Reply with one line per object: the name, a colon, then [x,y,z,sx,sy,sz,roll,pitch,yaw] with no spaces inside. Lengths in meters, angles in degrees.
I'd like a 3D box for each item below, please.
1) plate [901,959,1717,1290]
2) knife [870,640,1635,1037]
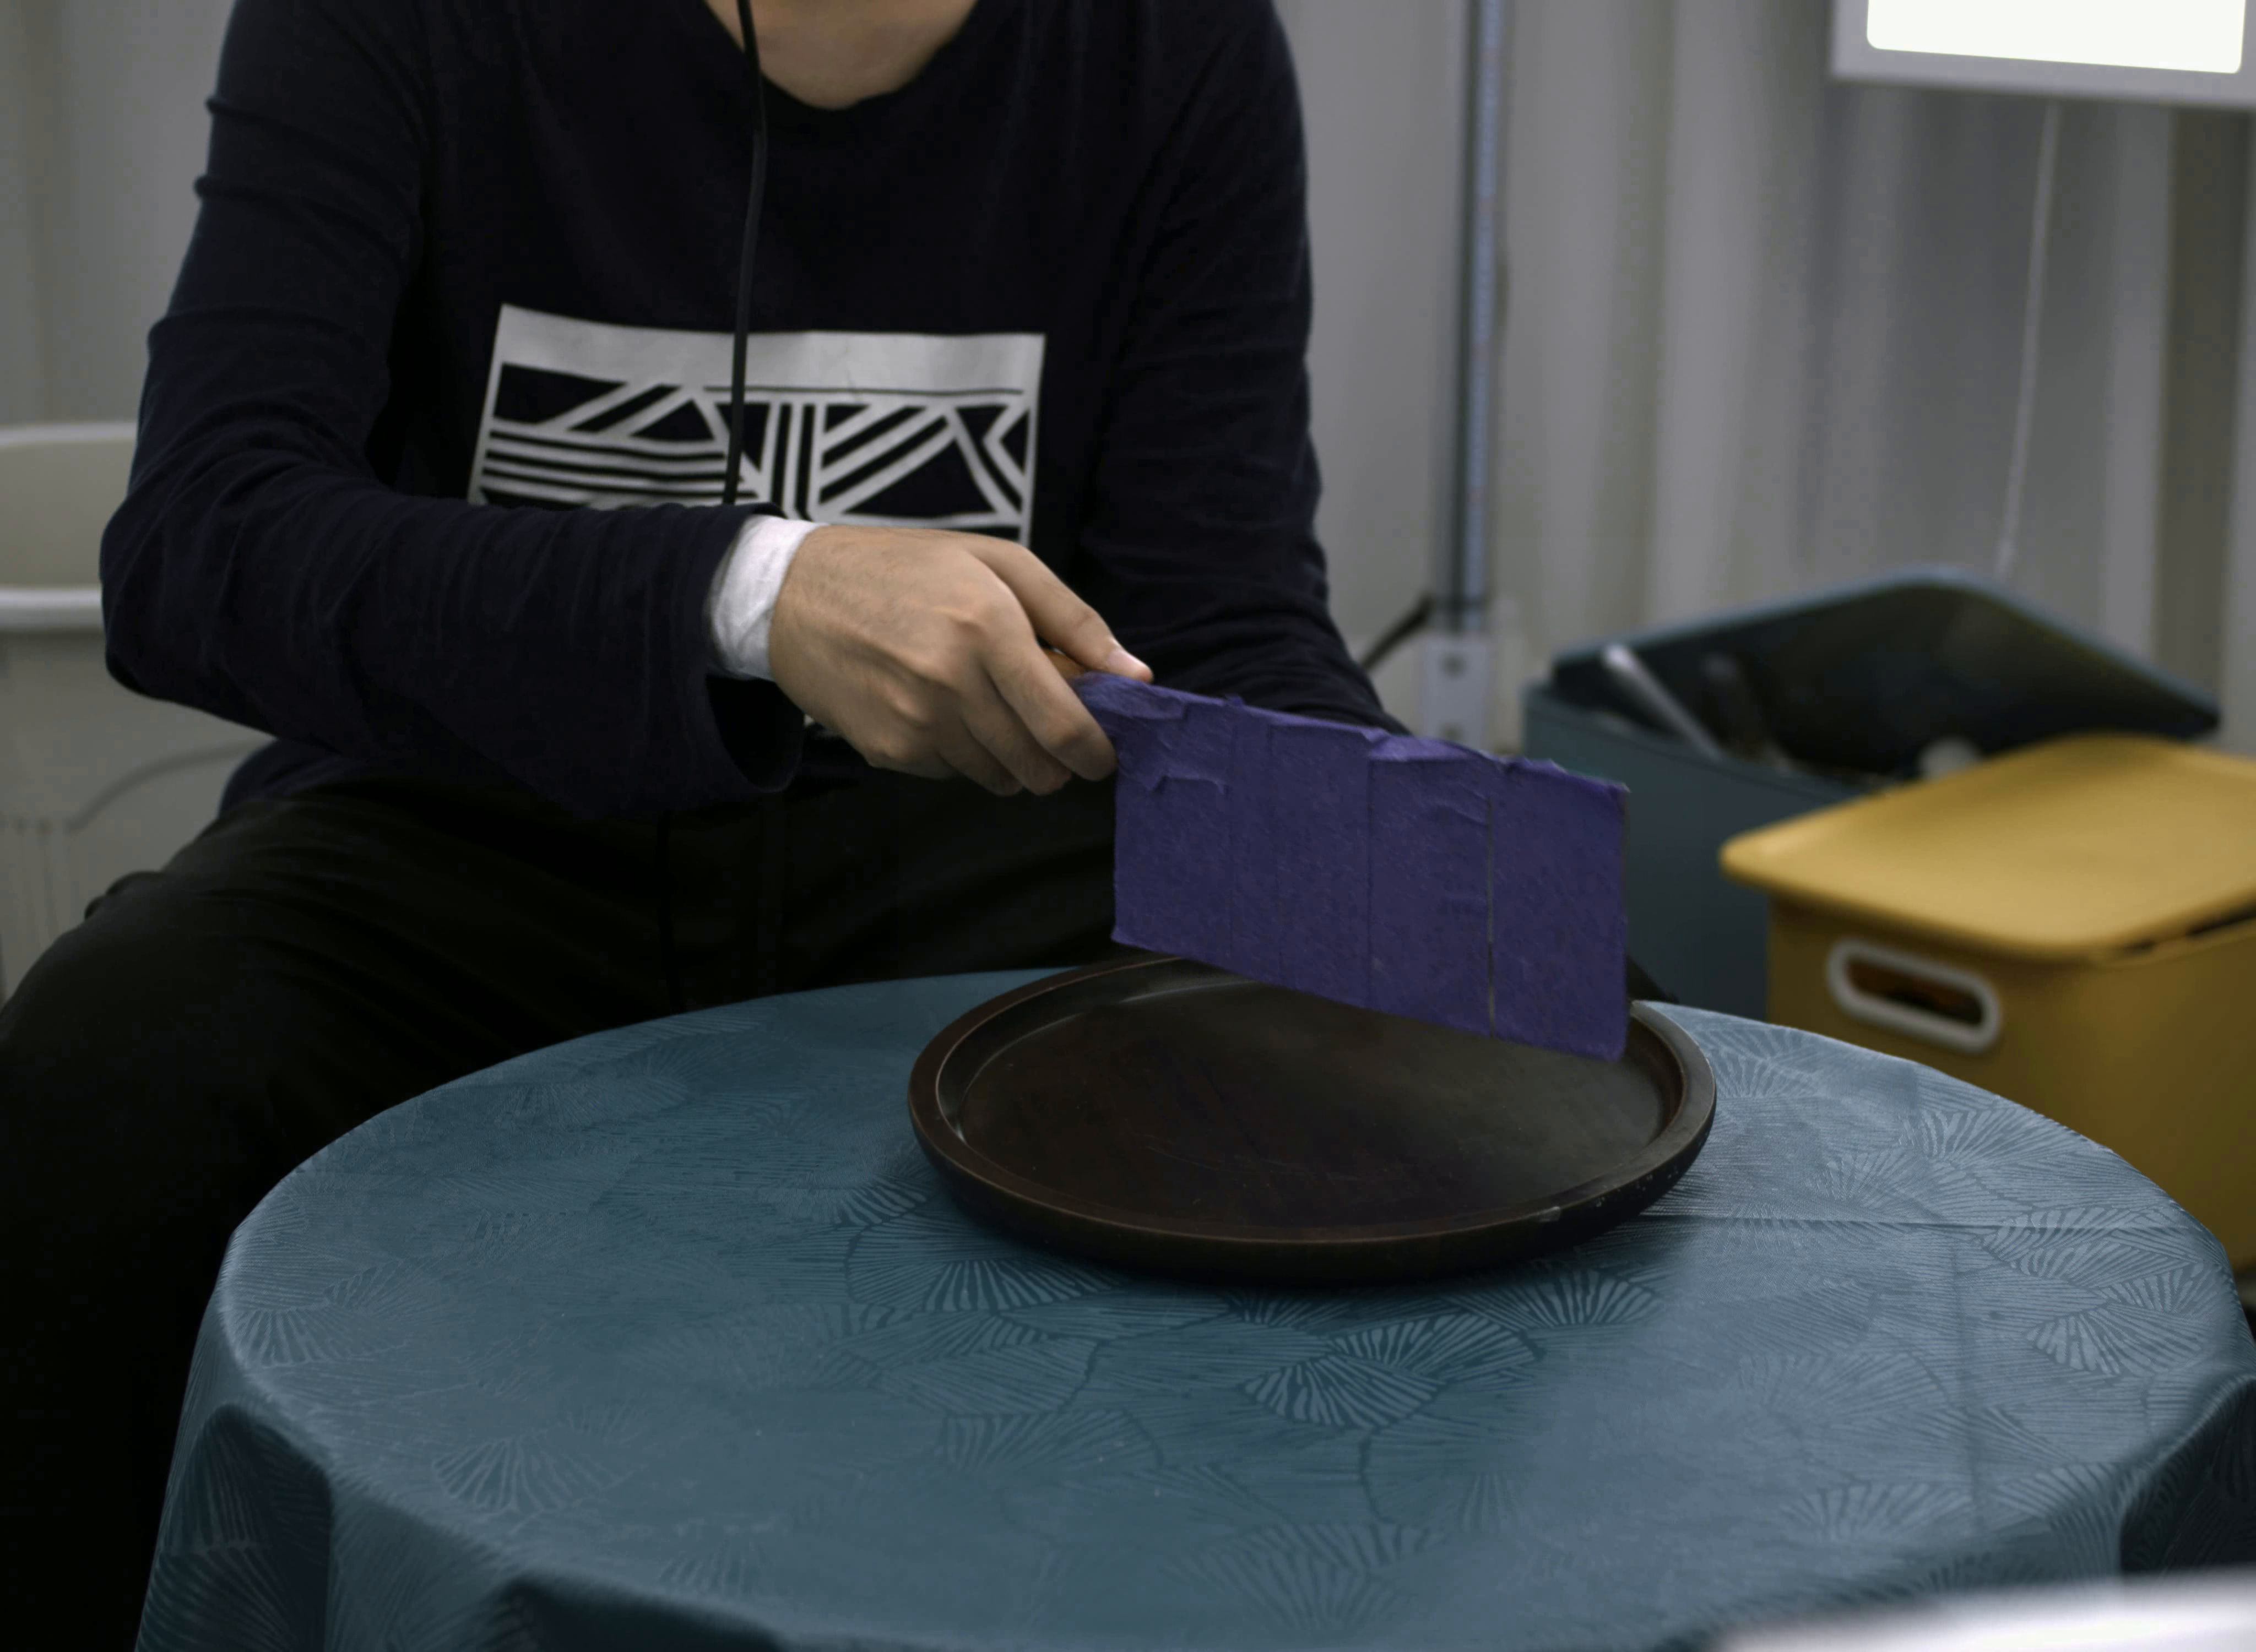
plate: [0.057,0.088,1.642,0.254,0.029,0.253,0,20,0]
knife: [0.035,0.004,1.695,0.311,0.104,0.032,13,18,41]
